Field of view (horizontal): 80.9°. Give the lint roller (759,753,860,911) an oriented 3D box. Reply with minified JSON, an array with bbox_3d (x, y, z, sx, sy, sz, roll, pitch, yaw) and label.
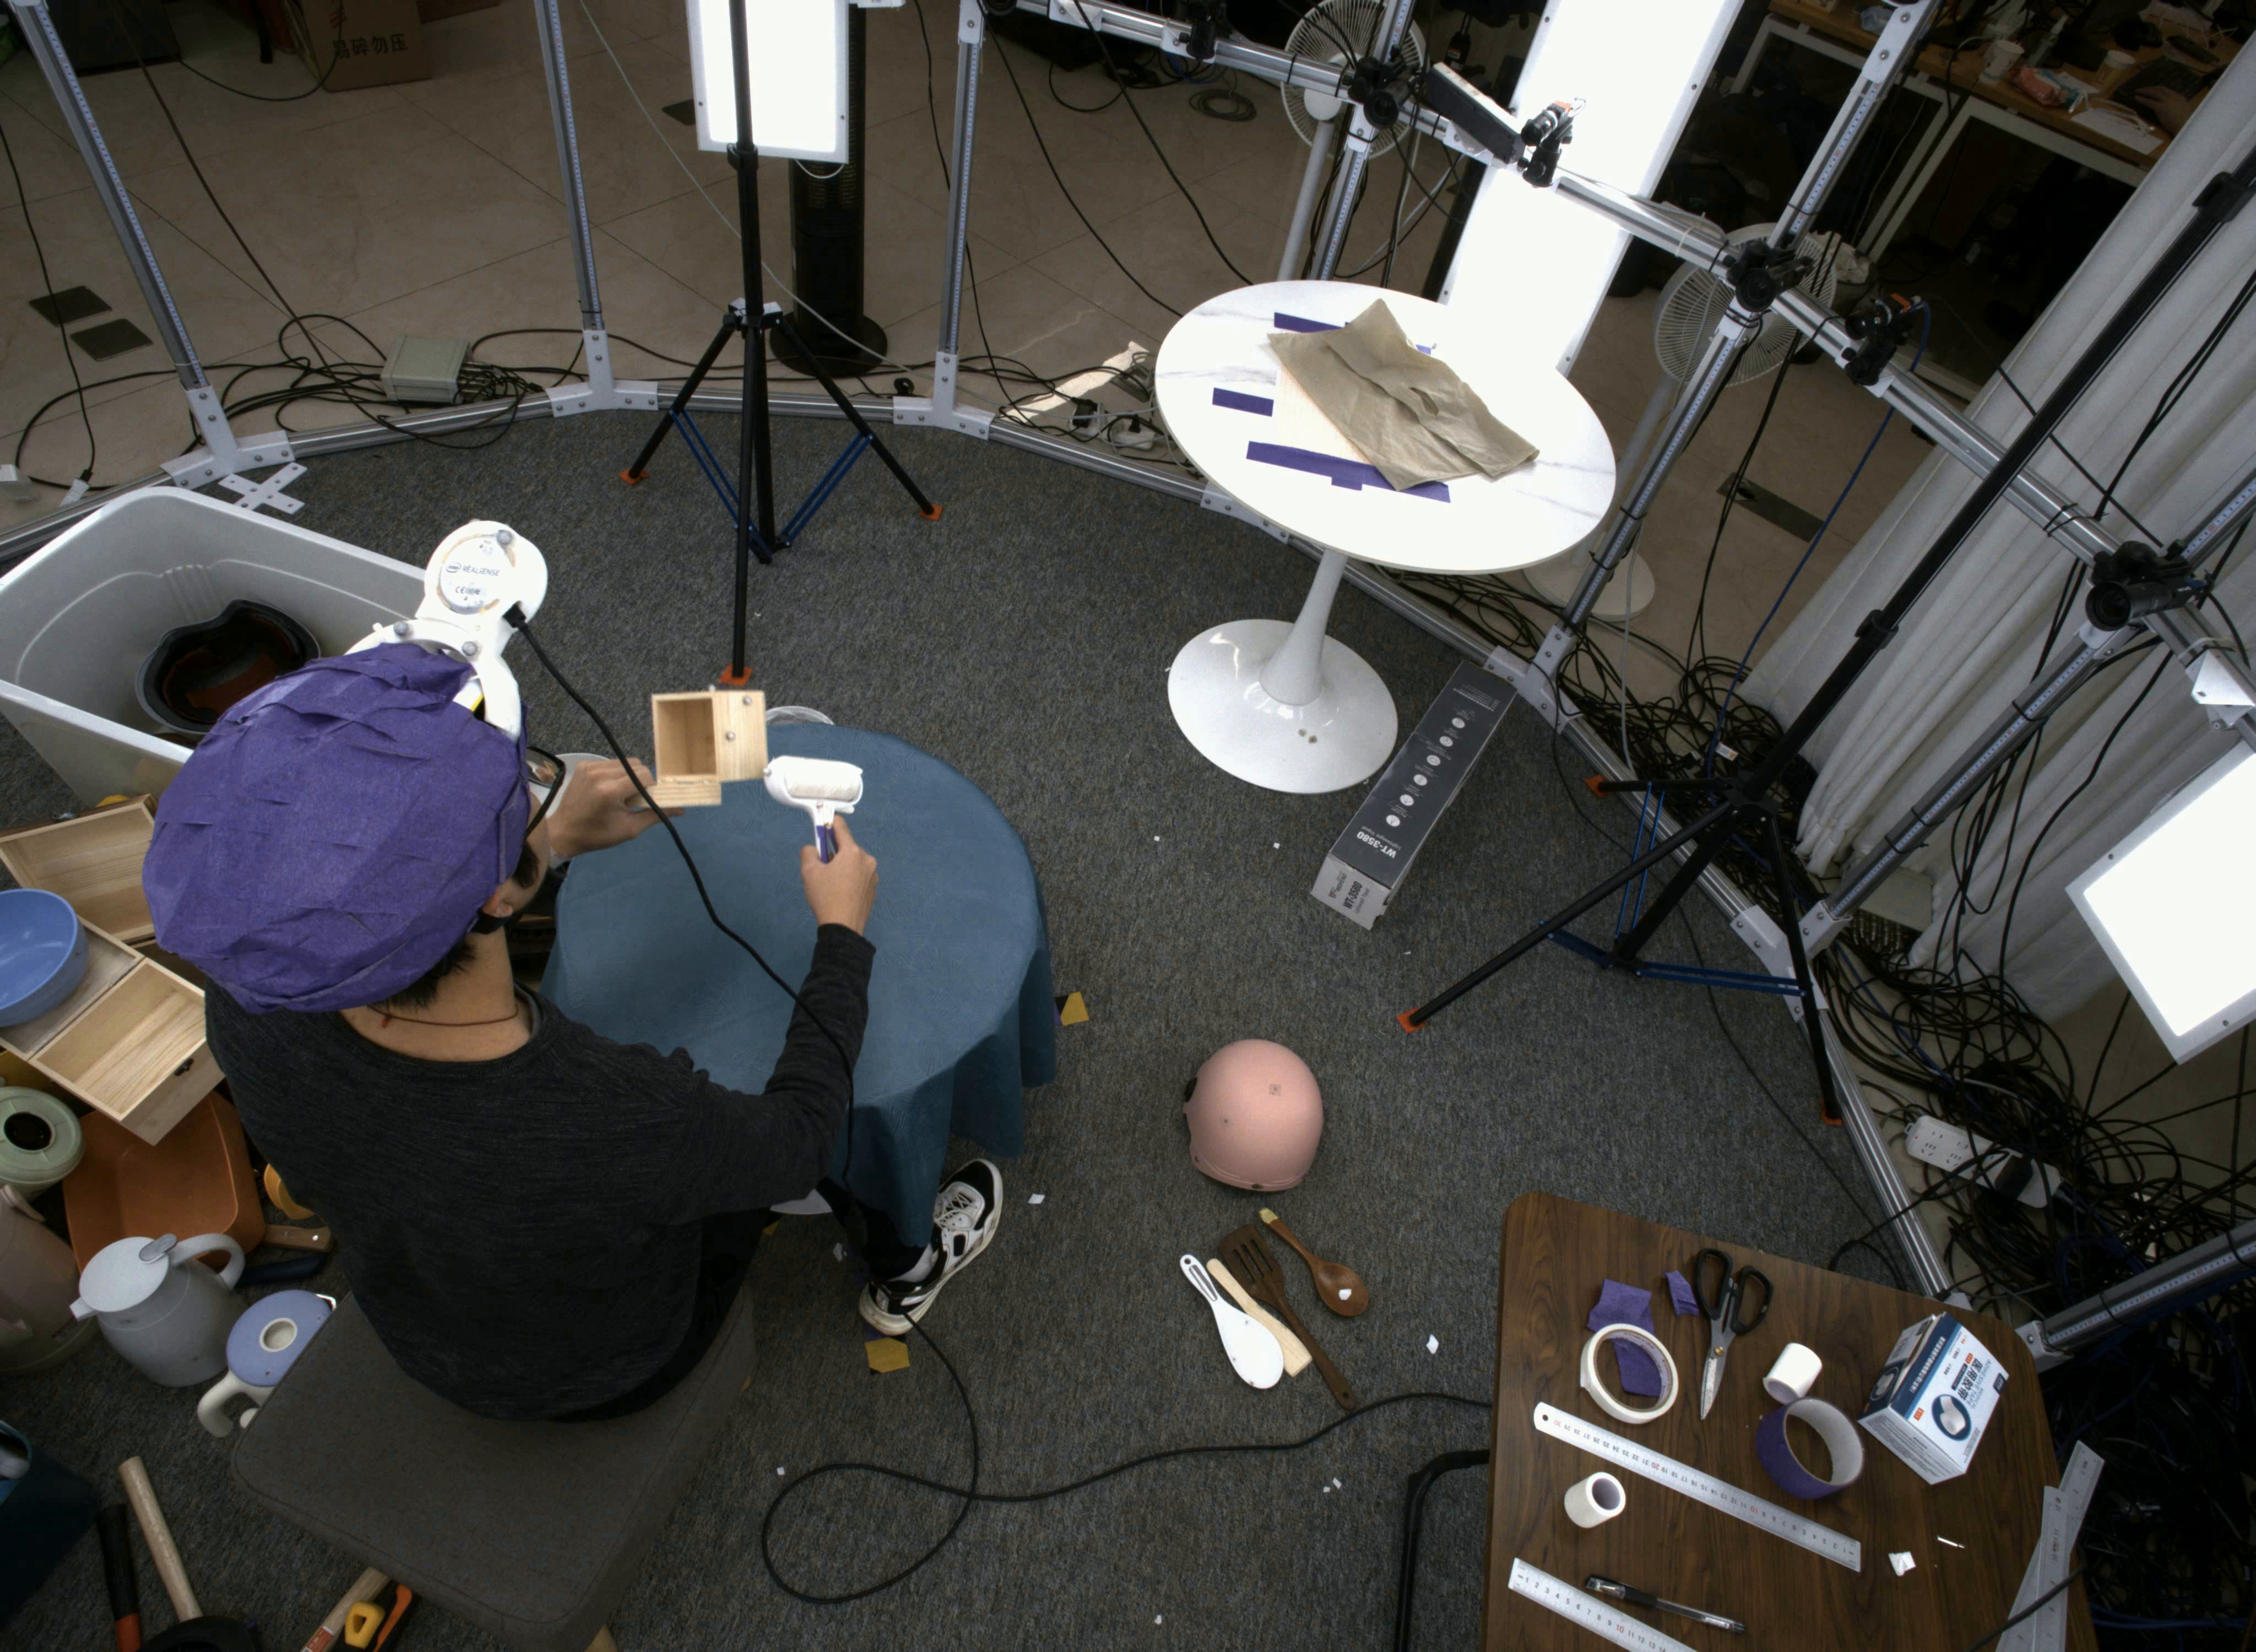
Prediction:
[{"bbox_3d":[-0.338,0.003,1.454,0.136,0.049,0.179,4,60,-59],"label":"lint roller"}]

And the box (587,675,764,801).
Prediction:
[{"bbox_3d":[-0.506,-0.100,1.422,0.099,0.136,0.187,1,7,27],"label":"box"}]
